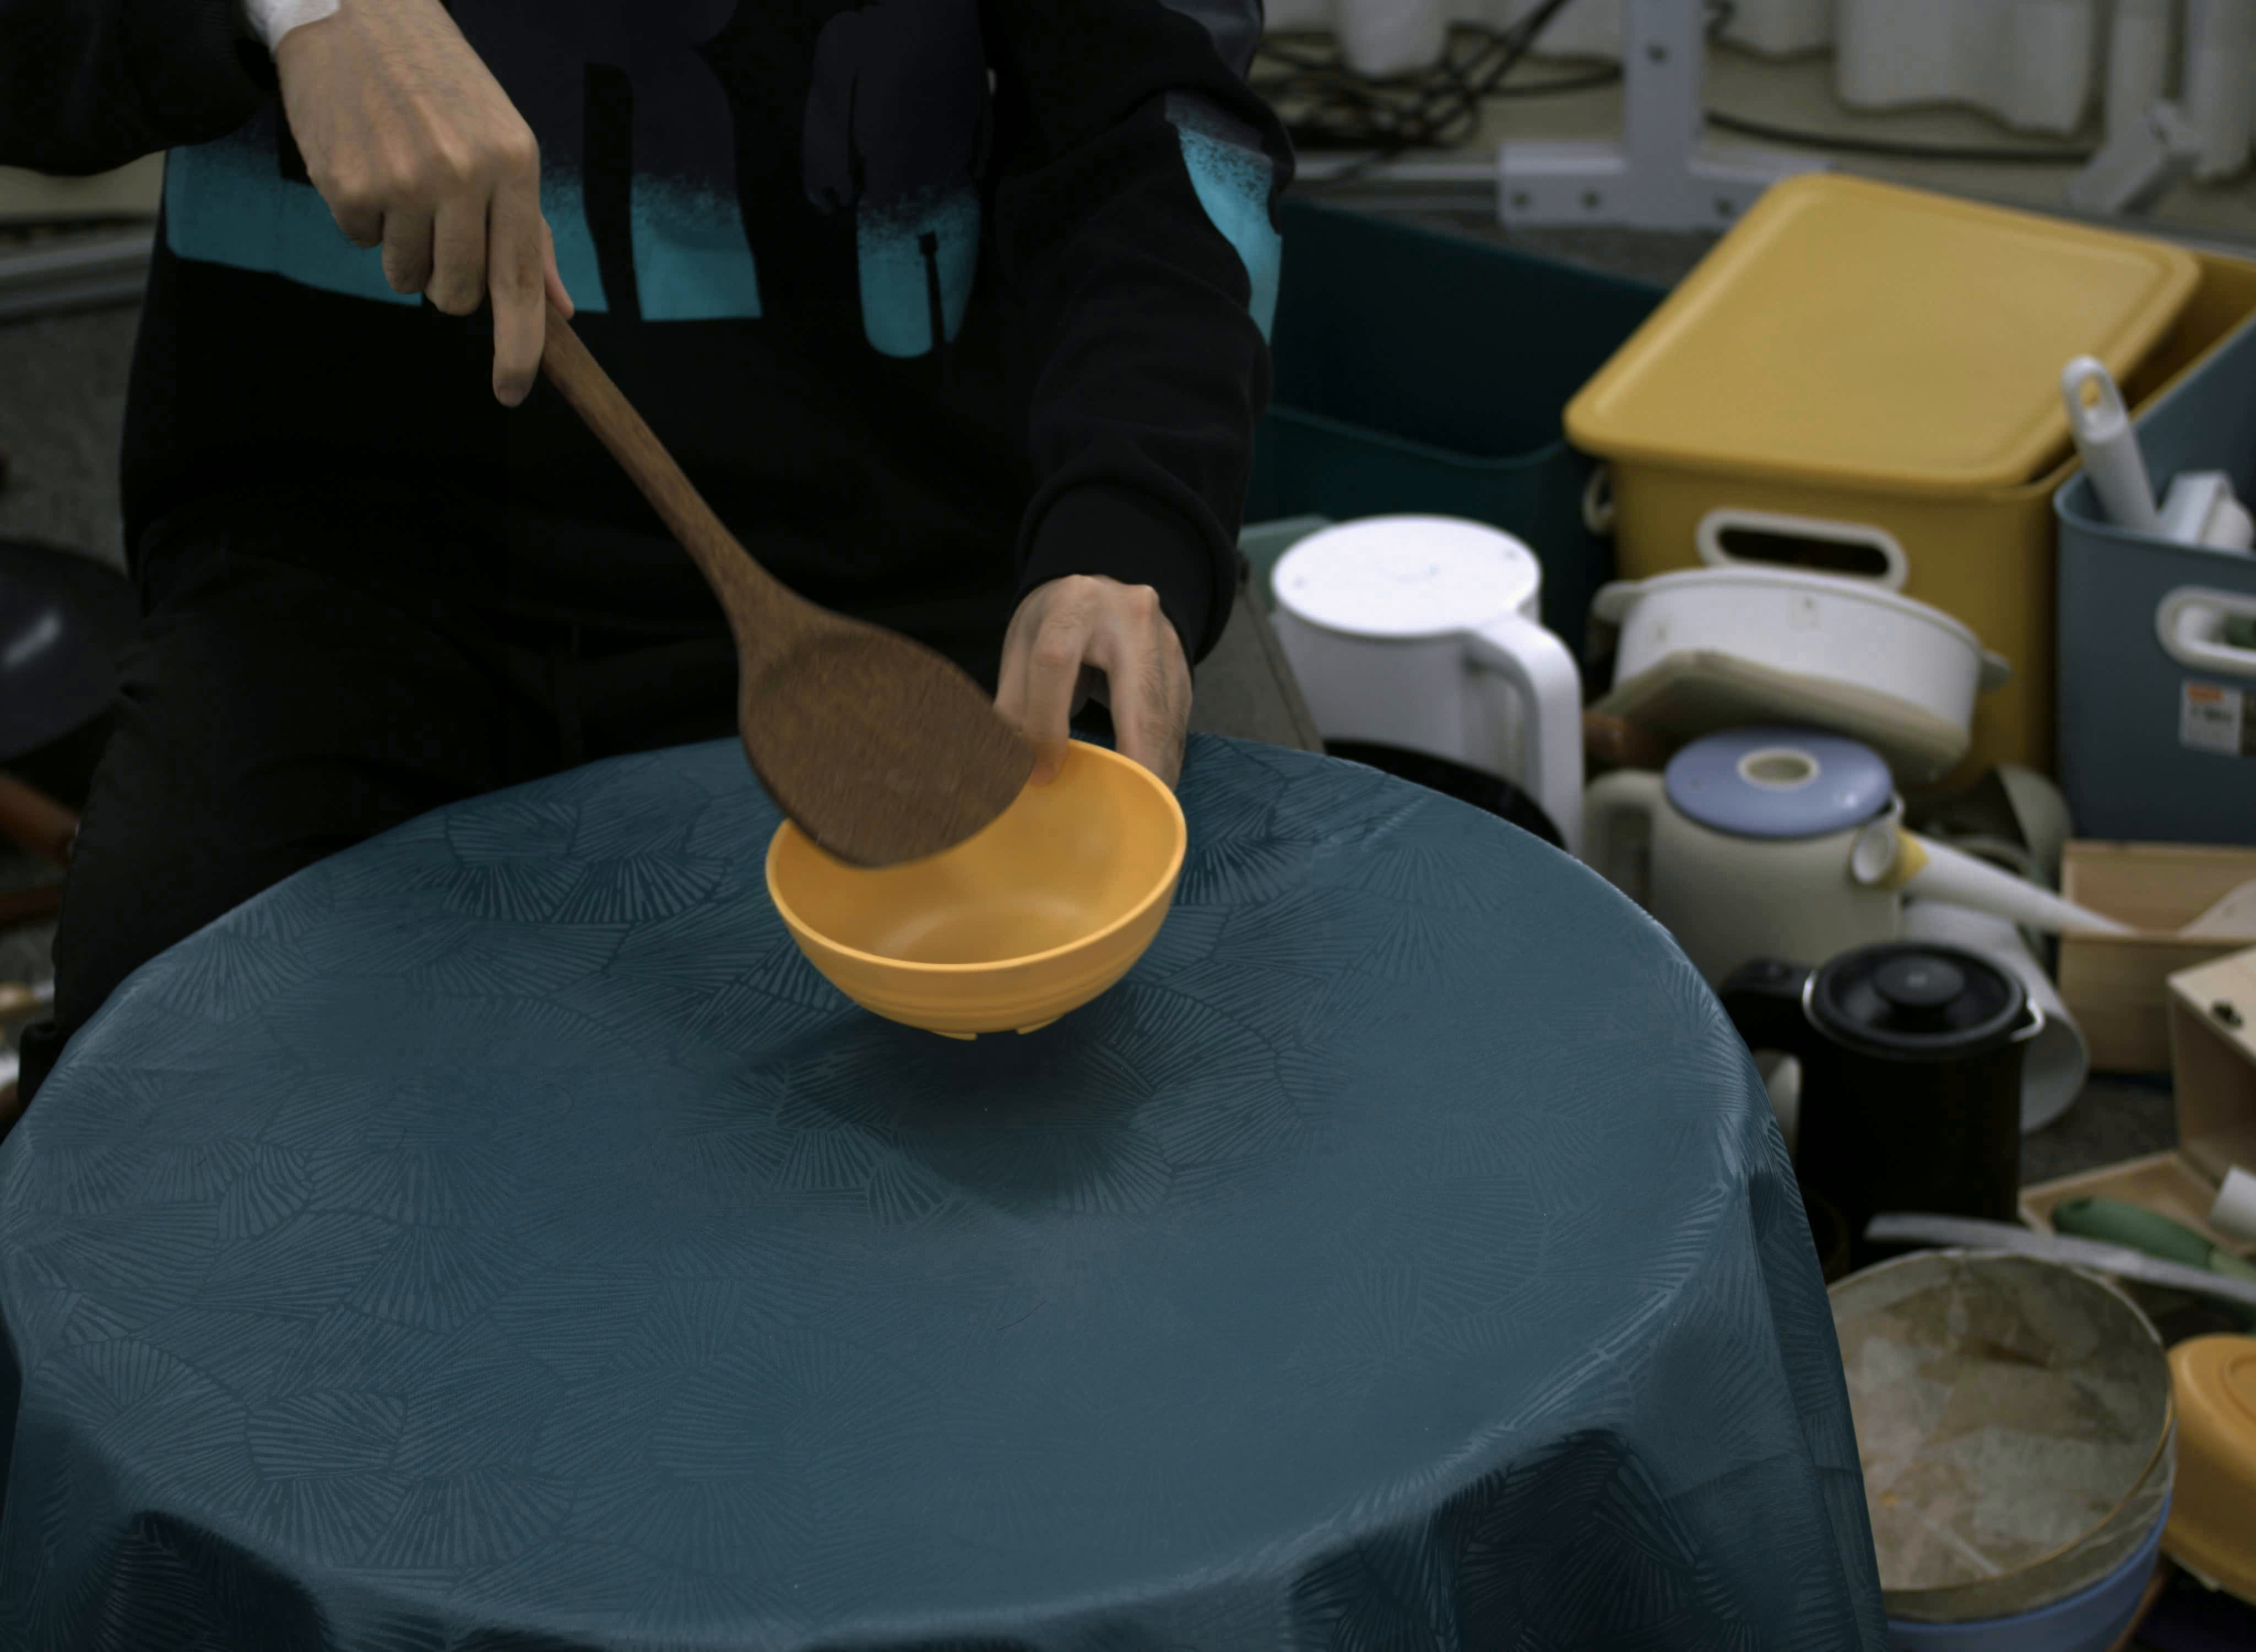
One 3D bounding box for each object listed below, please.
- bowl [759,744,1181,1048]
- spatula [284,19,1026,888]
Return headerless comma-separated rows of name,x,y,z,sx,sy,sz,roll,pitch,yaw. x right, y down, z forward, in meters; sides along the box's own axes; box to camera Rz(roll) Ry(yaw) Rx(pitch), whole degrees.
bowl,-0.052,0.034,1.929,0.144,0.059,0.148,-2,31,2
spatula,-0.176,-0.136,1.947,0.097,0.015,0.388,-29,75,-37
